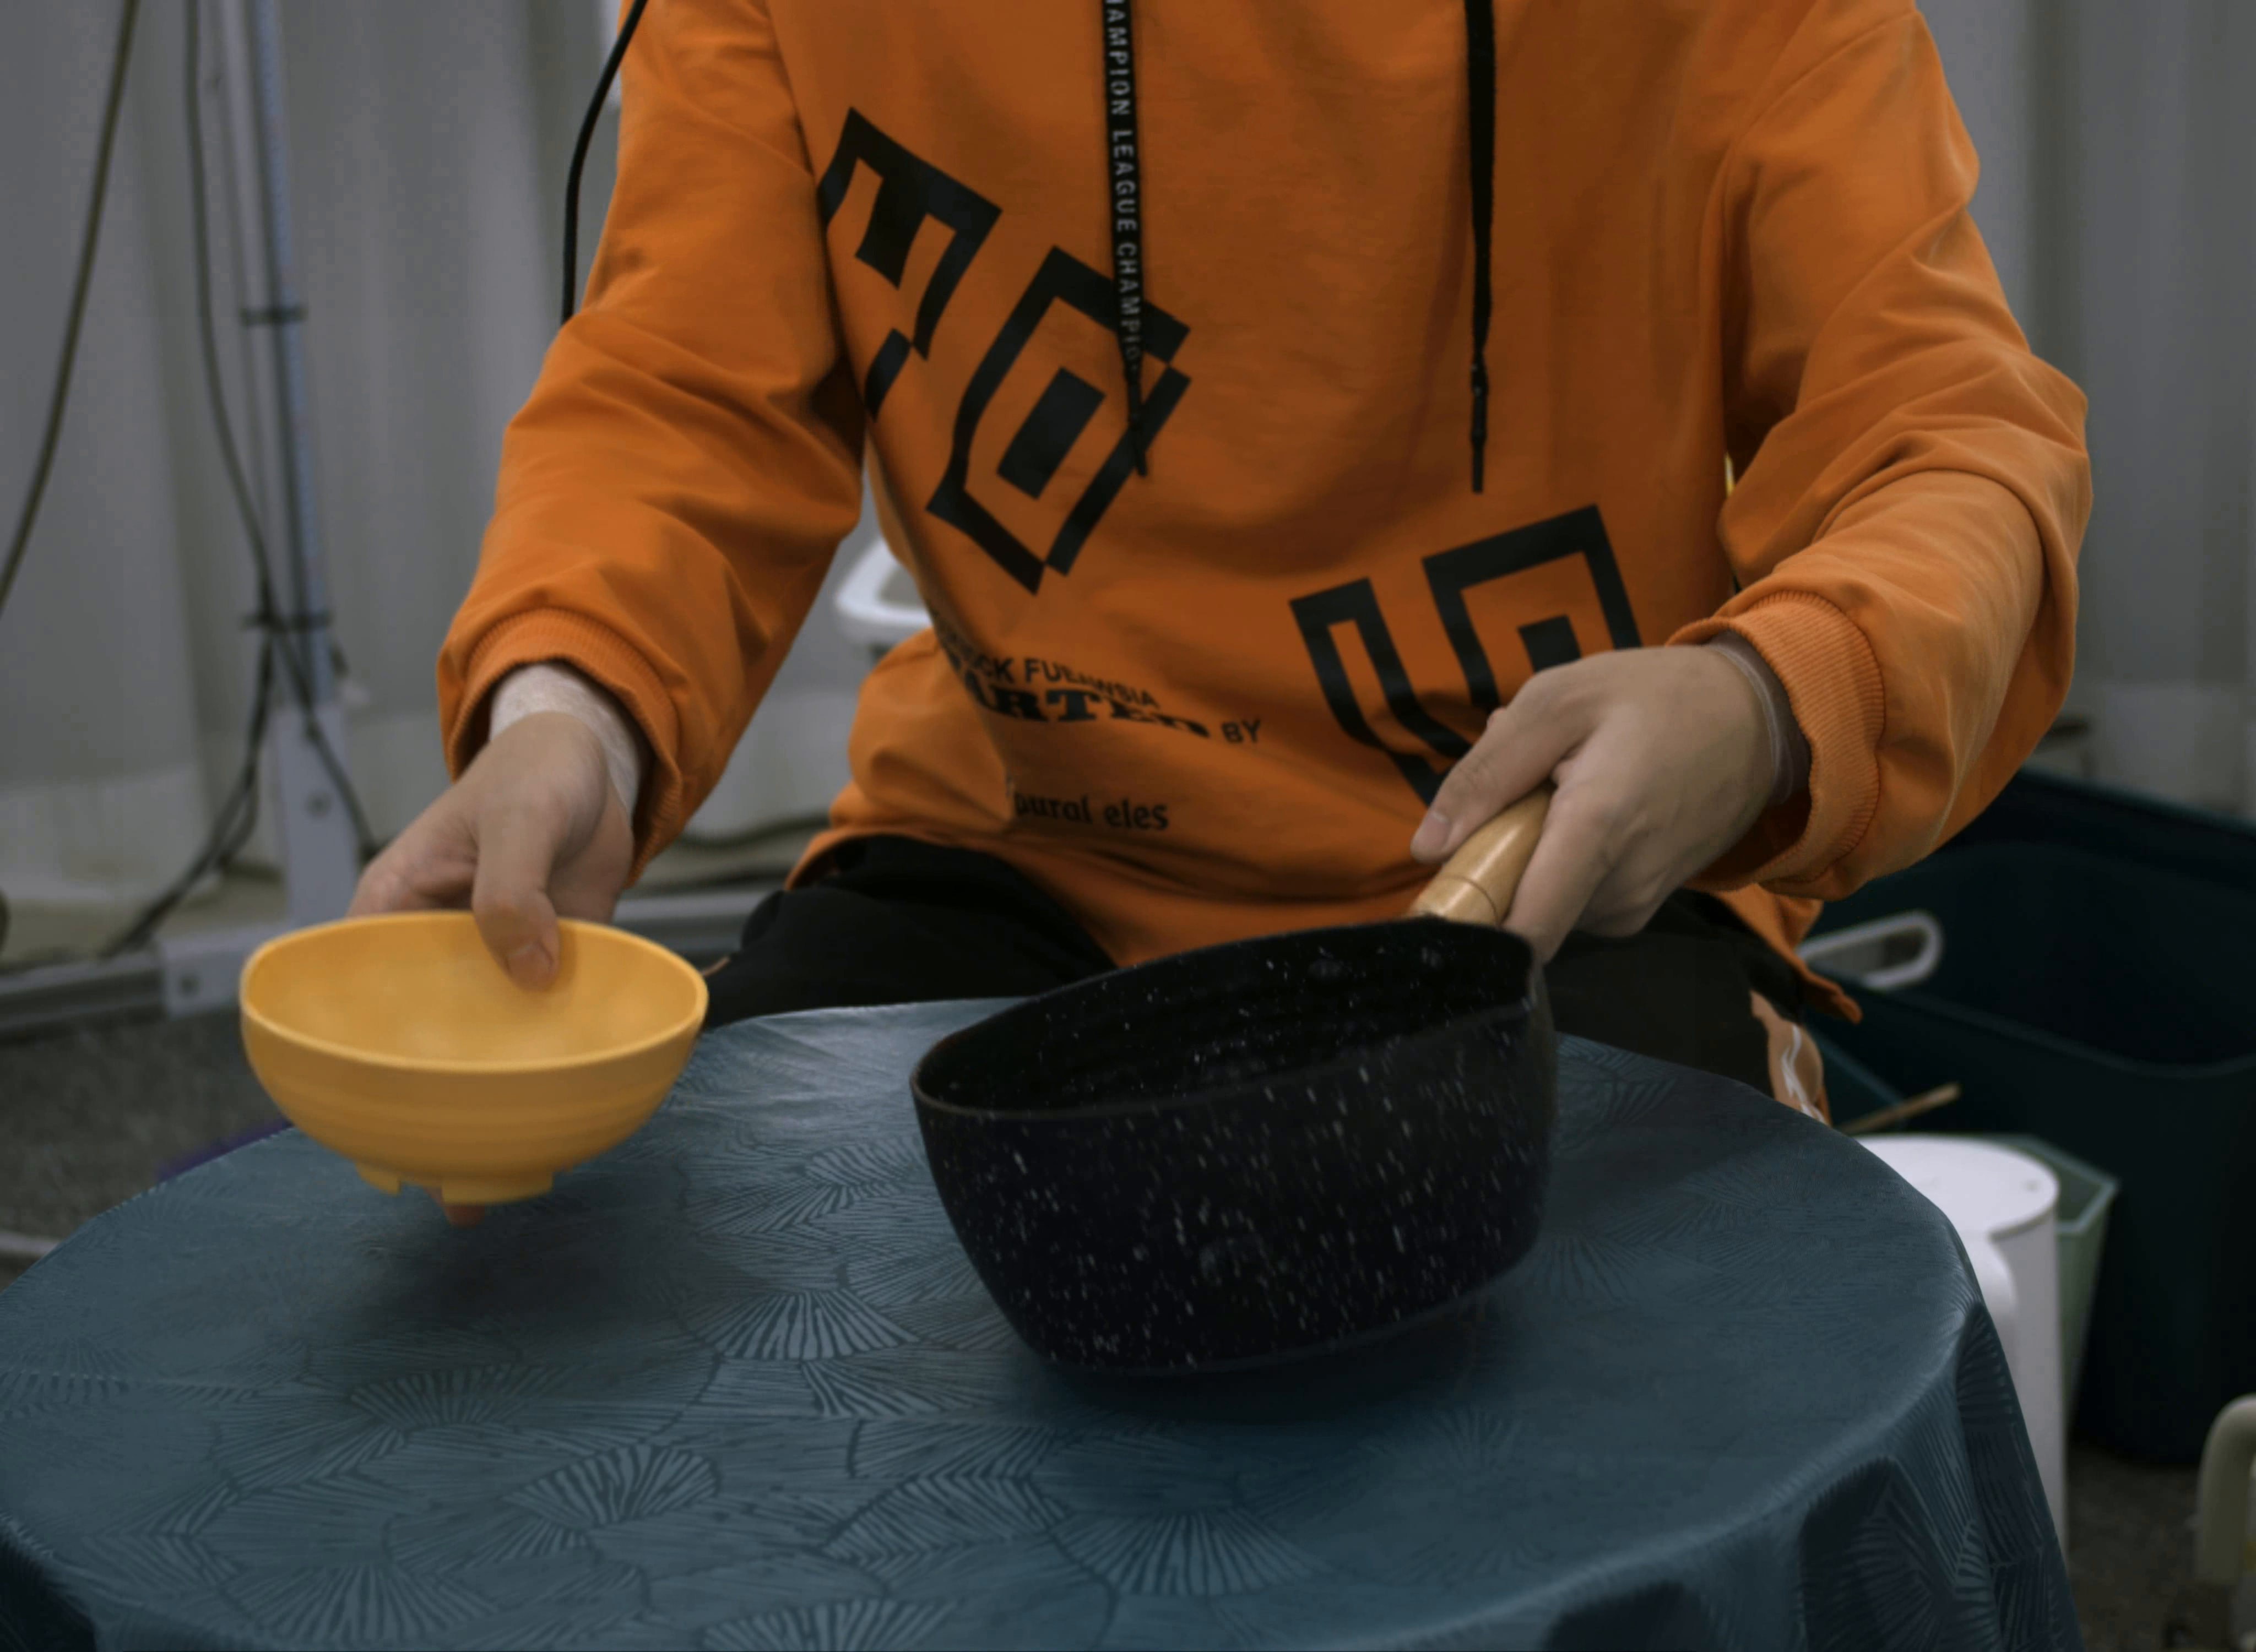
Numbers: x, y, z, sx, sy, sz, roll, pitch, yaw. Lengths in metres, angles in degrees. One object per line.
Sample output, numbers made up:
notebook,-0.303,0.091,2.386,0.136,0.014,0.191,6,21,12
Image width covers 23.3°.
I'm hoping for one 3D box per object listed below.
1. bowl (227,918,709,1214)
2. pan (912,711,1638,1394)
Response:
bowl,-0.200,0.078,1.654,0.145,0.060,0.146,4,16,-1
pan,0.074,0.063,1.628,0.207,0.108,0.343,-5,14,32
